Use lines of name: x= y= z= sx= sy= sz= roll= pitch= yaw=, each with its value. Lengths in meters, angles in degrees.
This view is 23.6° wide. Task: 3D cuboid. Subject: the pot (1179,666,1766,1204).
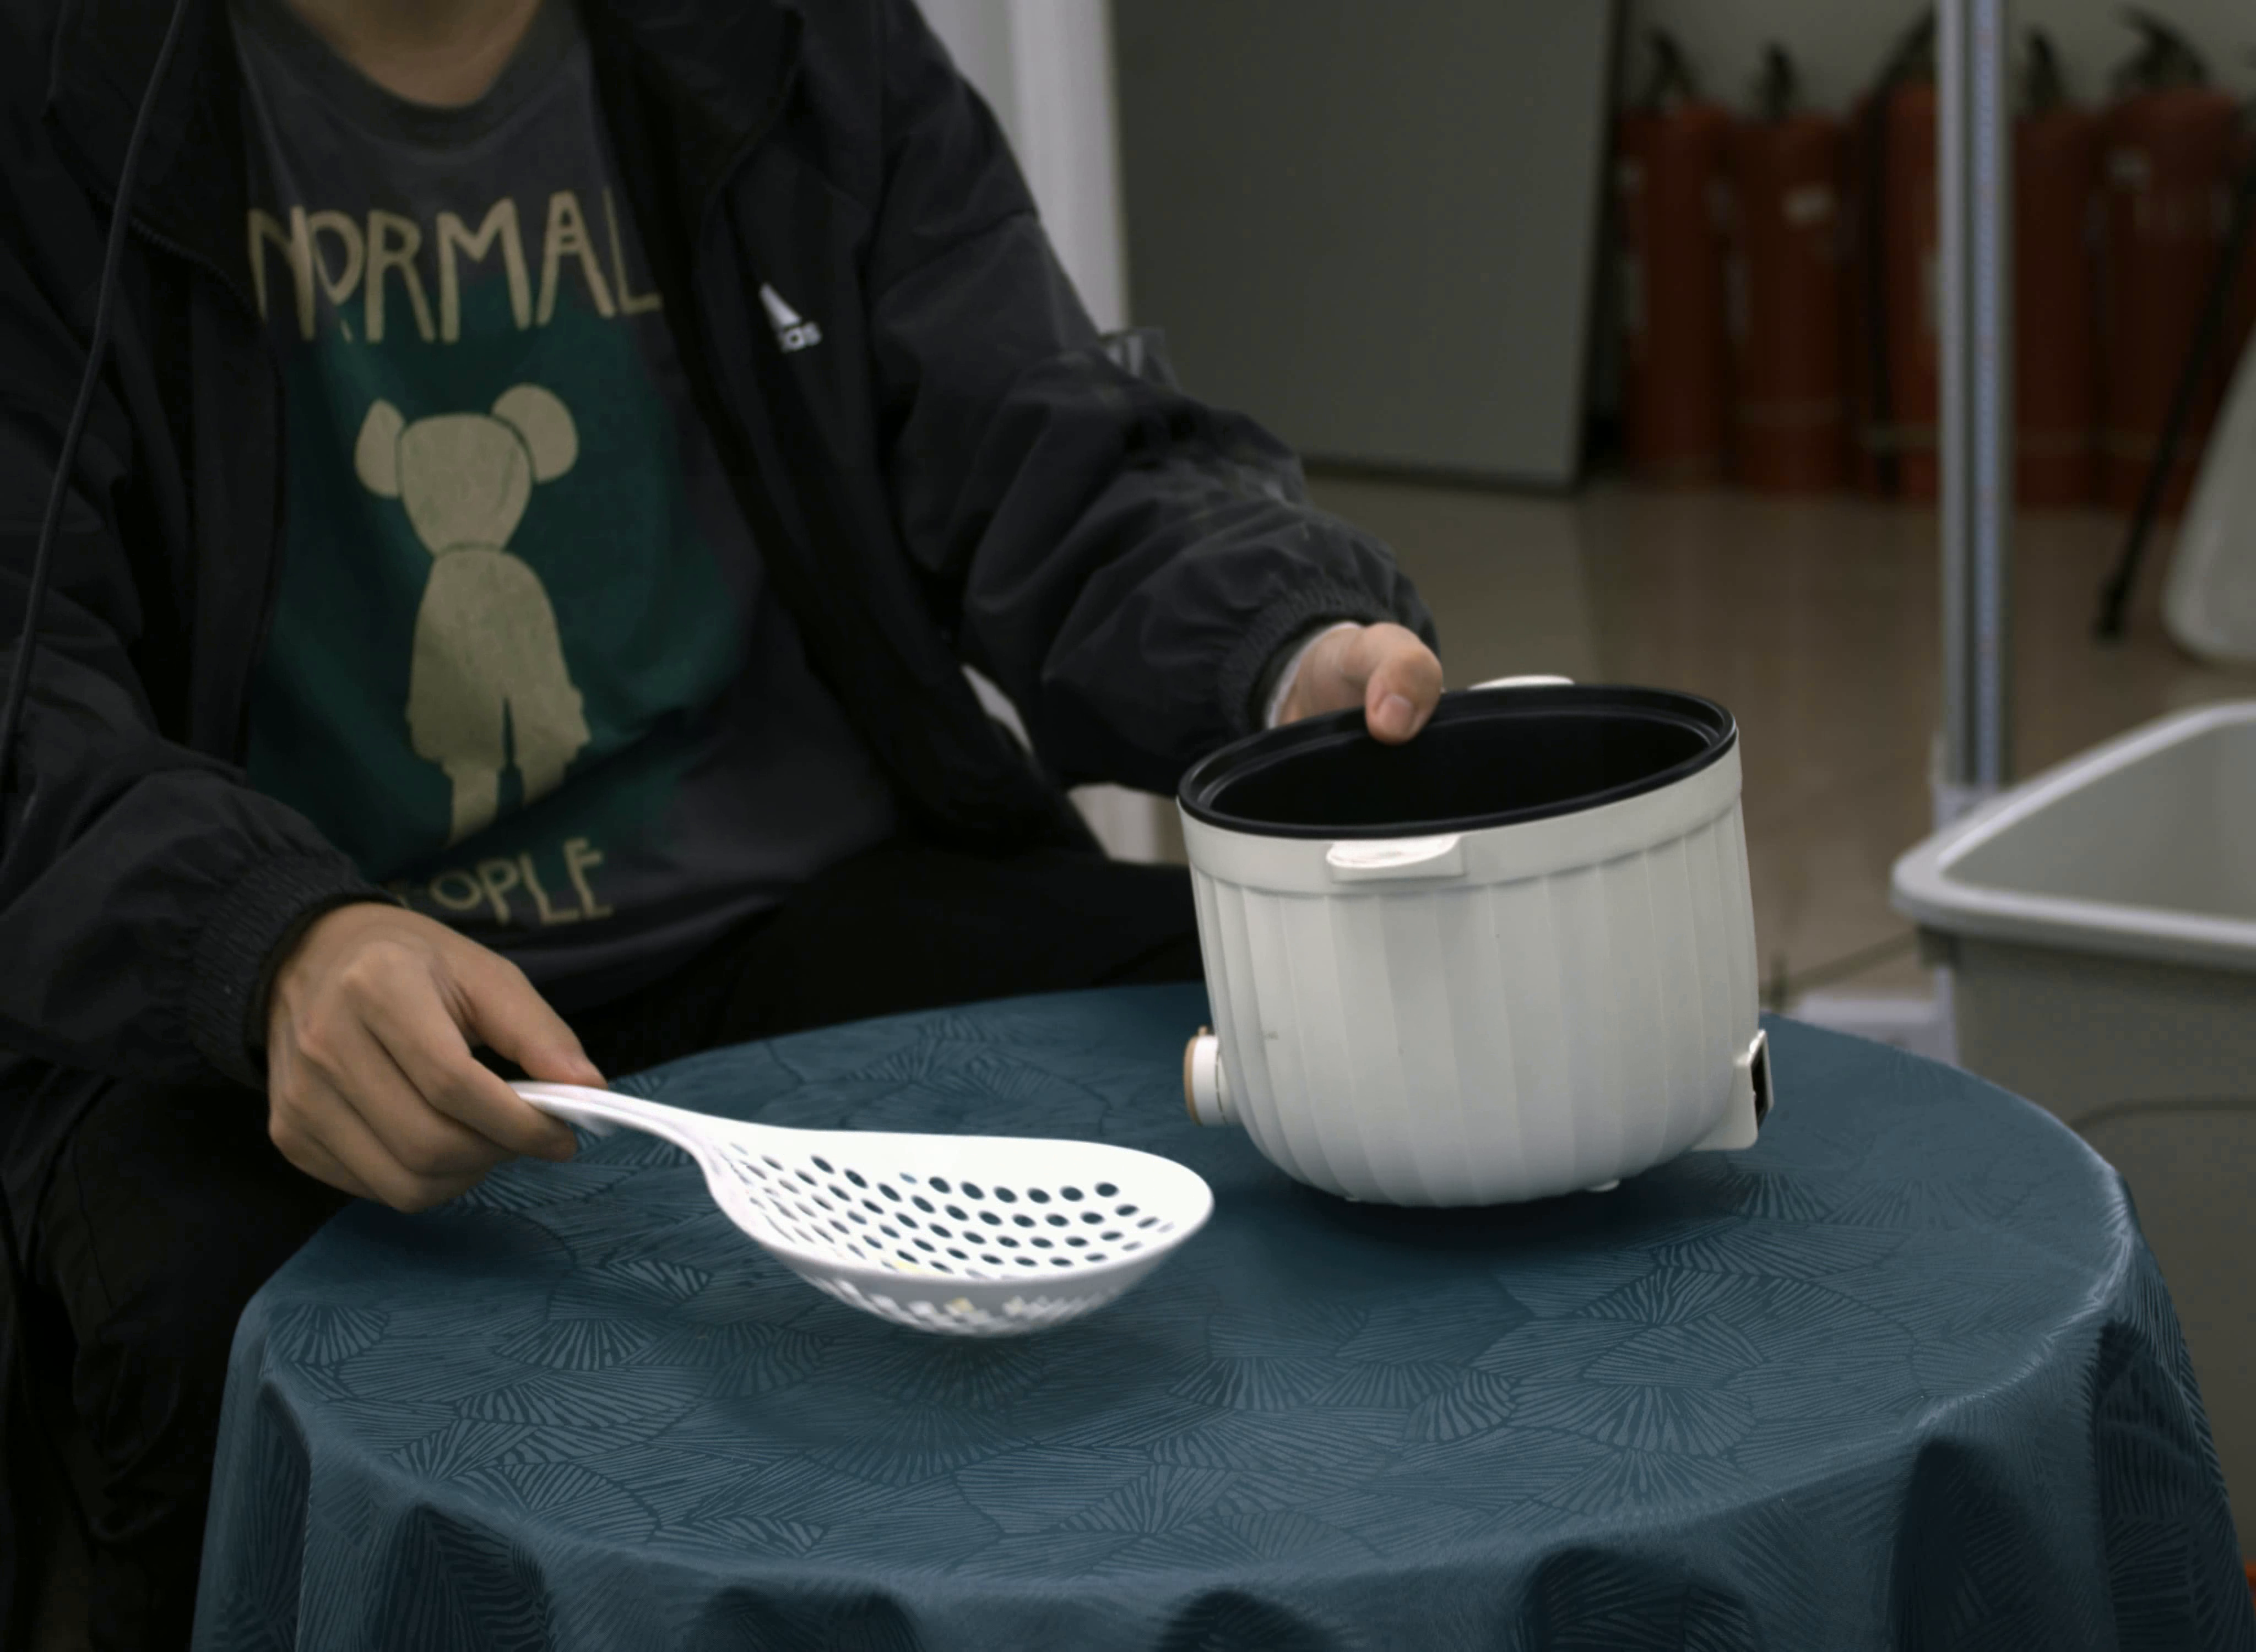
pot: x=0.107 y=0.038 z=1.732 sx=0.190 sy=0.144 sz=0.238 roll=-1 pitch=13 yaw=16

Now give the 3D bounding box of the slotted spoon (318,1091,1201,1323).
slotted spoon: x=-0.129 y=0.106 z=1.684 sx=0.351 sy=0.051 sz=0.134 roll=13 pitch=20 yaw=40
